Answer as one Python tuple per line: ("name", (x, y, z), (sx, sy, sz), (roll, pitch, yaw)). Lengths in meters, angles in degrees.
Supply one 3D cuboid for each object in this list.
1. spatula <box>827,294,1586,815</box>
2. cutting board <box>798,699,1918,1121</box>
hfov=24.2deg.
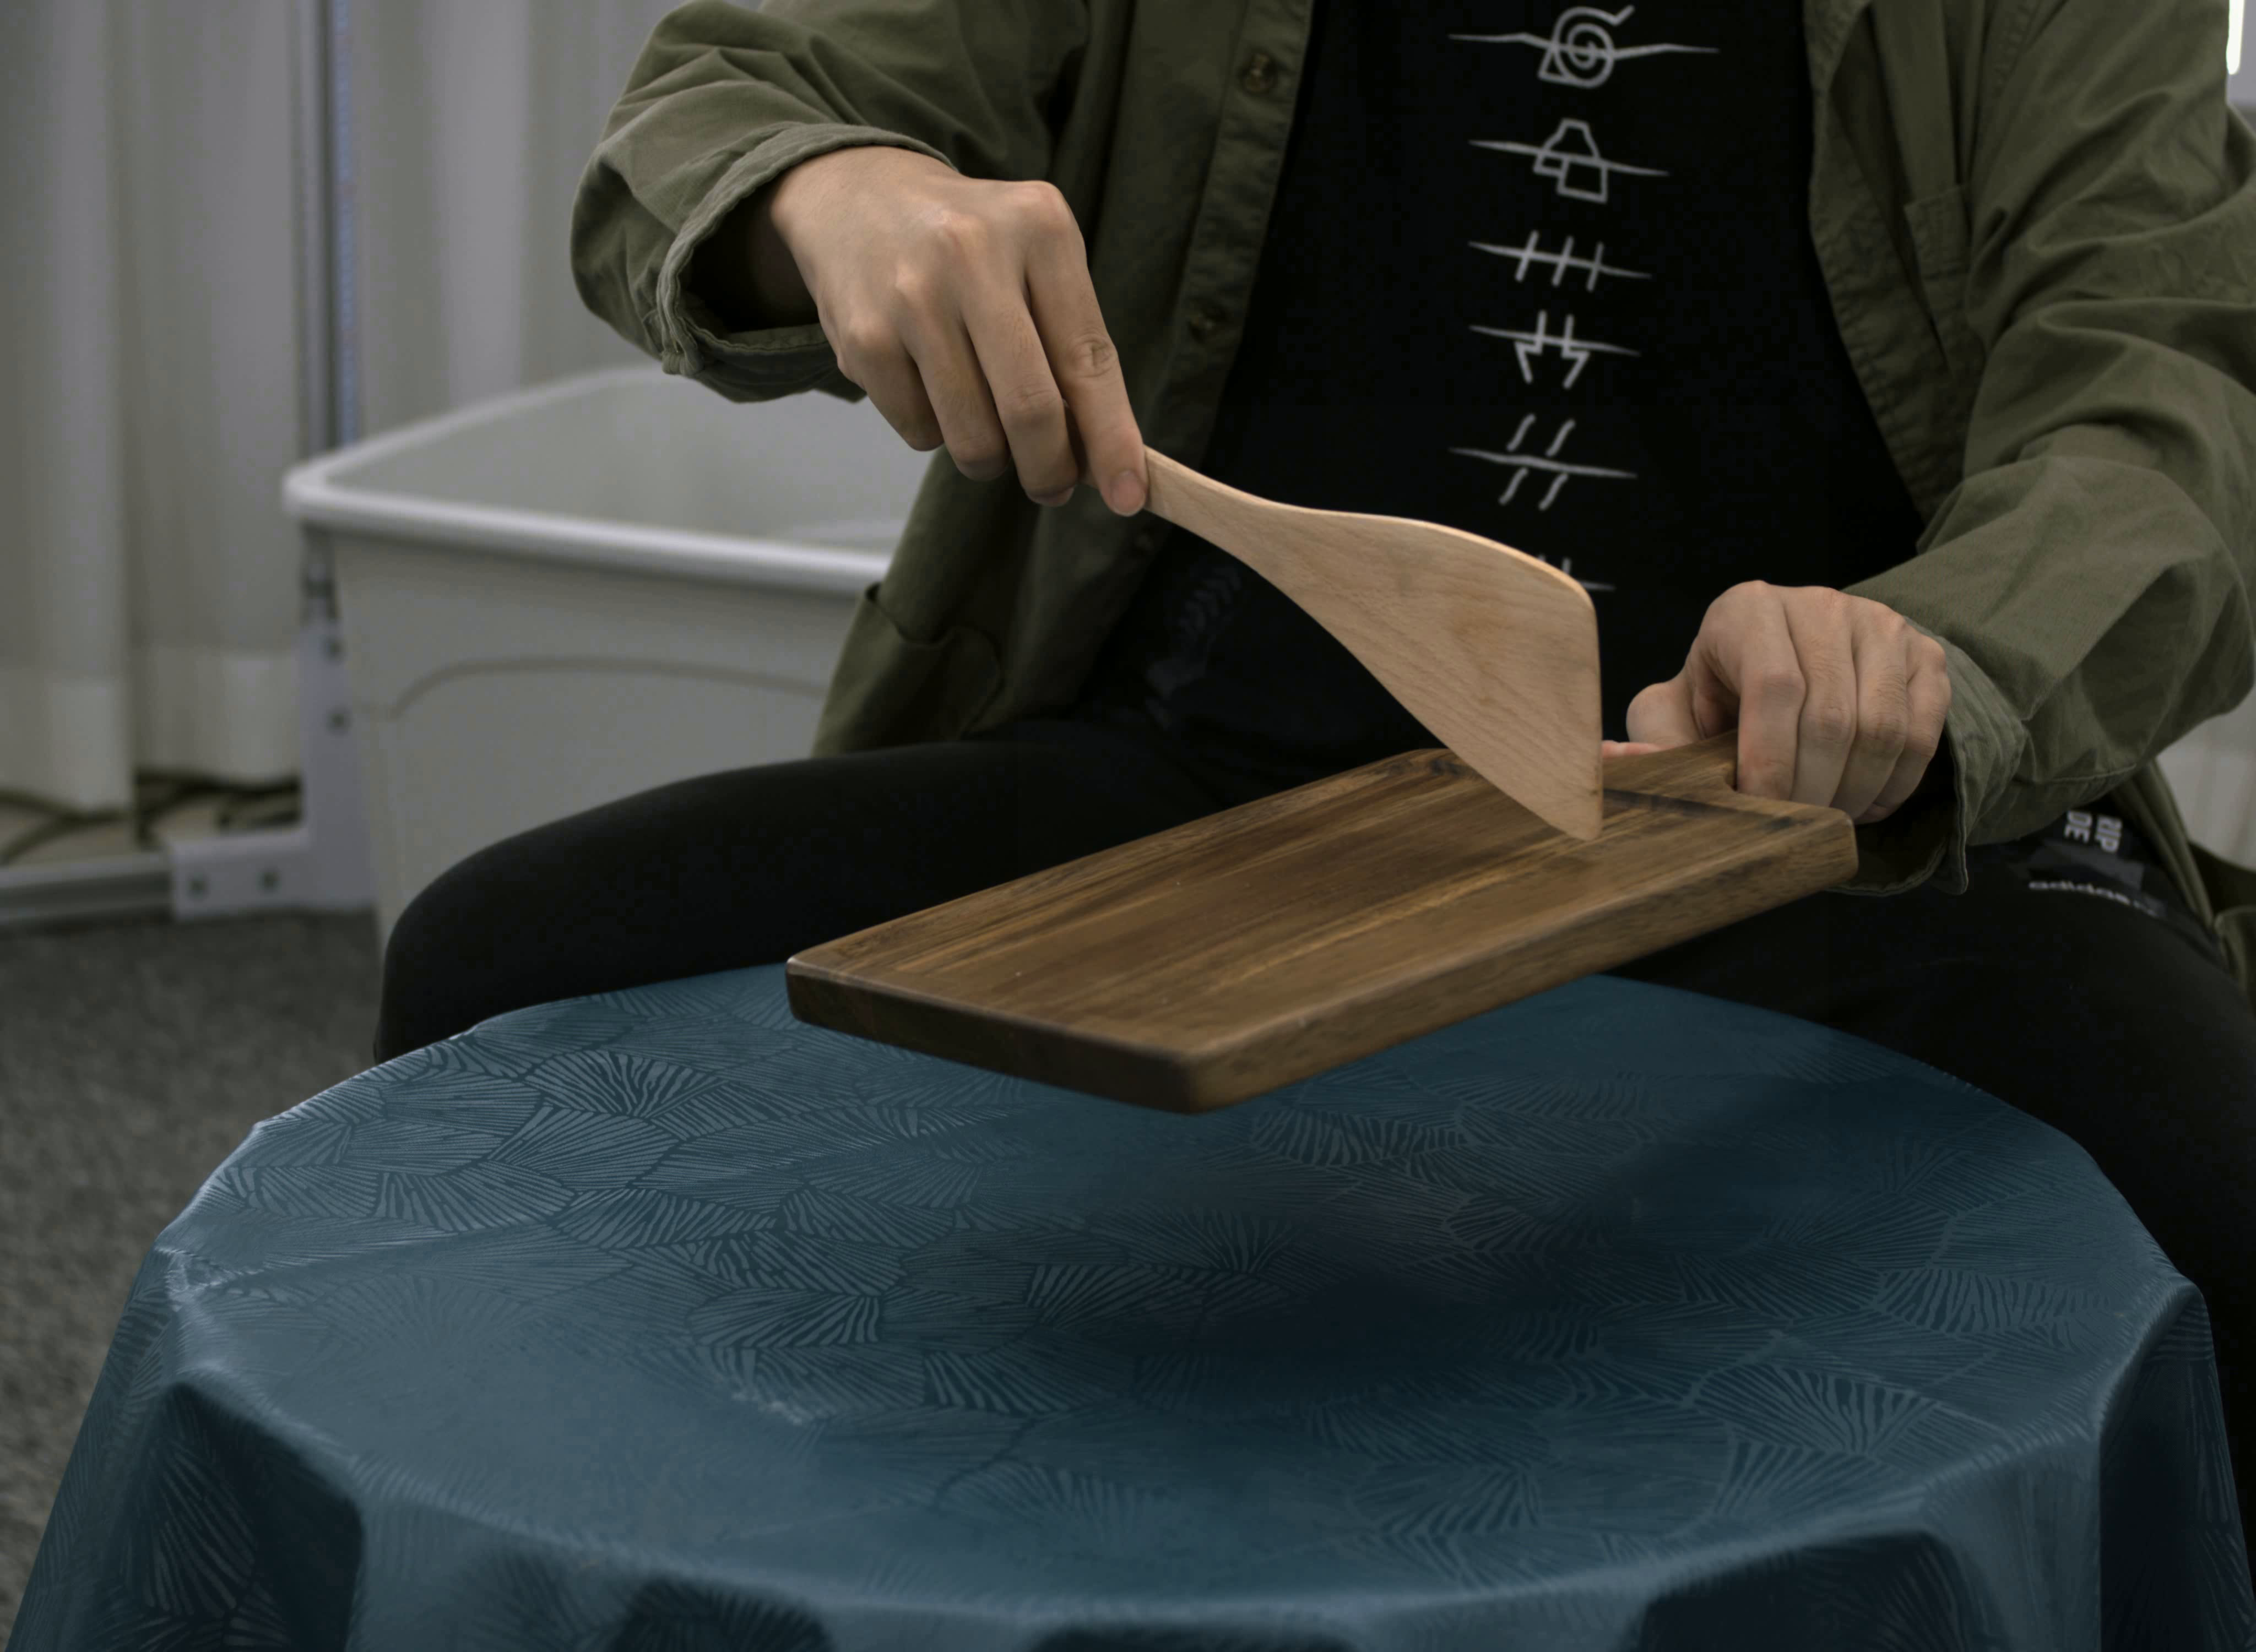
("spatula", (0.019, -0.098, 1.584), (0.323, 0.081, 0.016), (28, 39, 34))
("cutting board", (0.099, 0.015, 1.527), (0.353, 0.023, 0.198), (-17, 16, -33))
